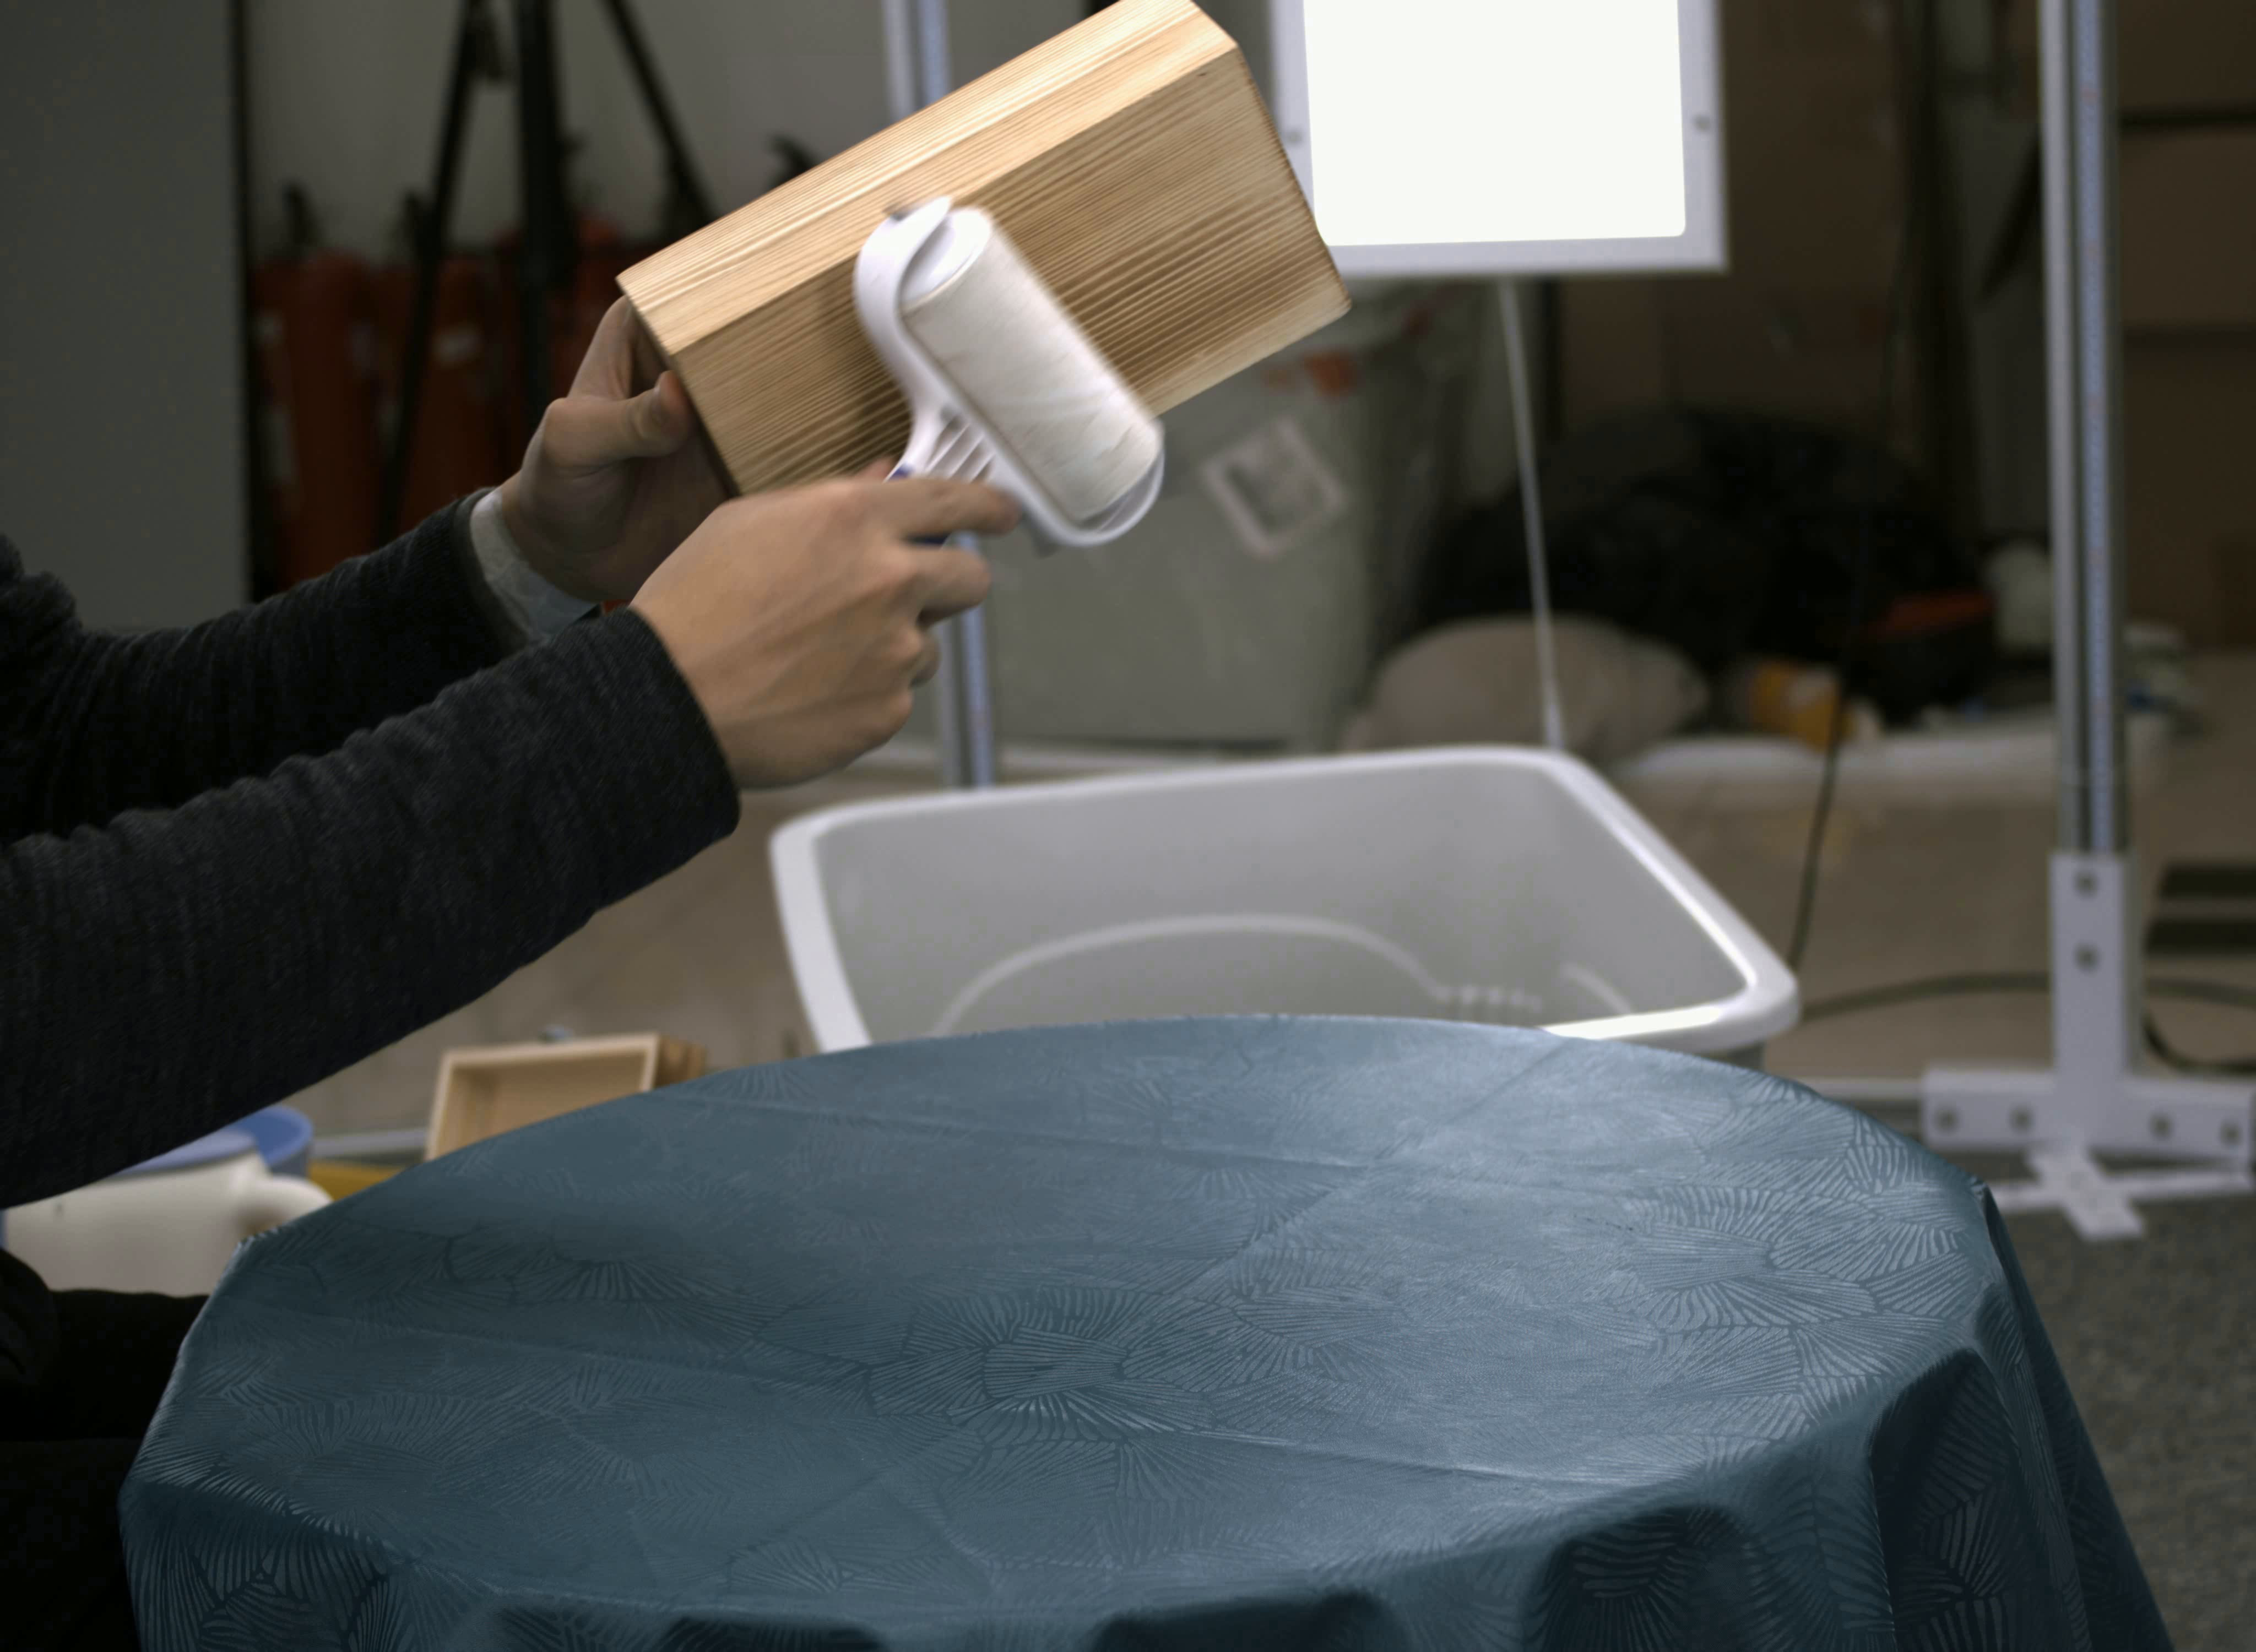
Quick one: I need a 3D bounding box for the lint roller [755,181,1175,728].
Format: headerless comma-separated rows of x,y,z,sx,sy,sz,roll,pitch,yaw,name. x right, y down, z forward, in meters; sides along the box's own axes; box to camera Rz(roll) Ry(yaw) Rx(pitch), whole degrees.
-0.061,-0.105,1.741,0.051,0.131,0.178,-4,45,46,lint roller

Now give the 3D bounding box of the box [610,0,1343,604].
-0.049,-0.178,1.825,0.210,0.107,0.081,-30,30,-4,box
